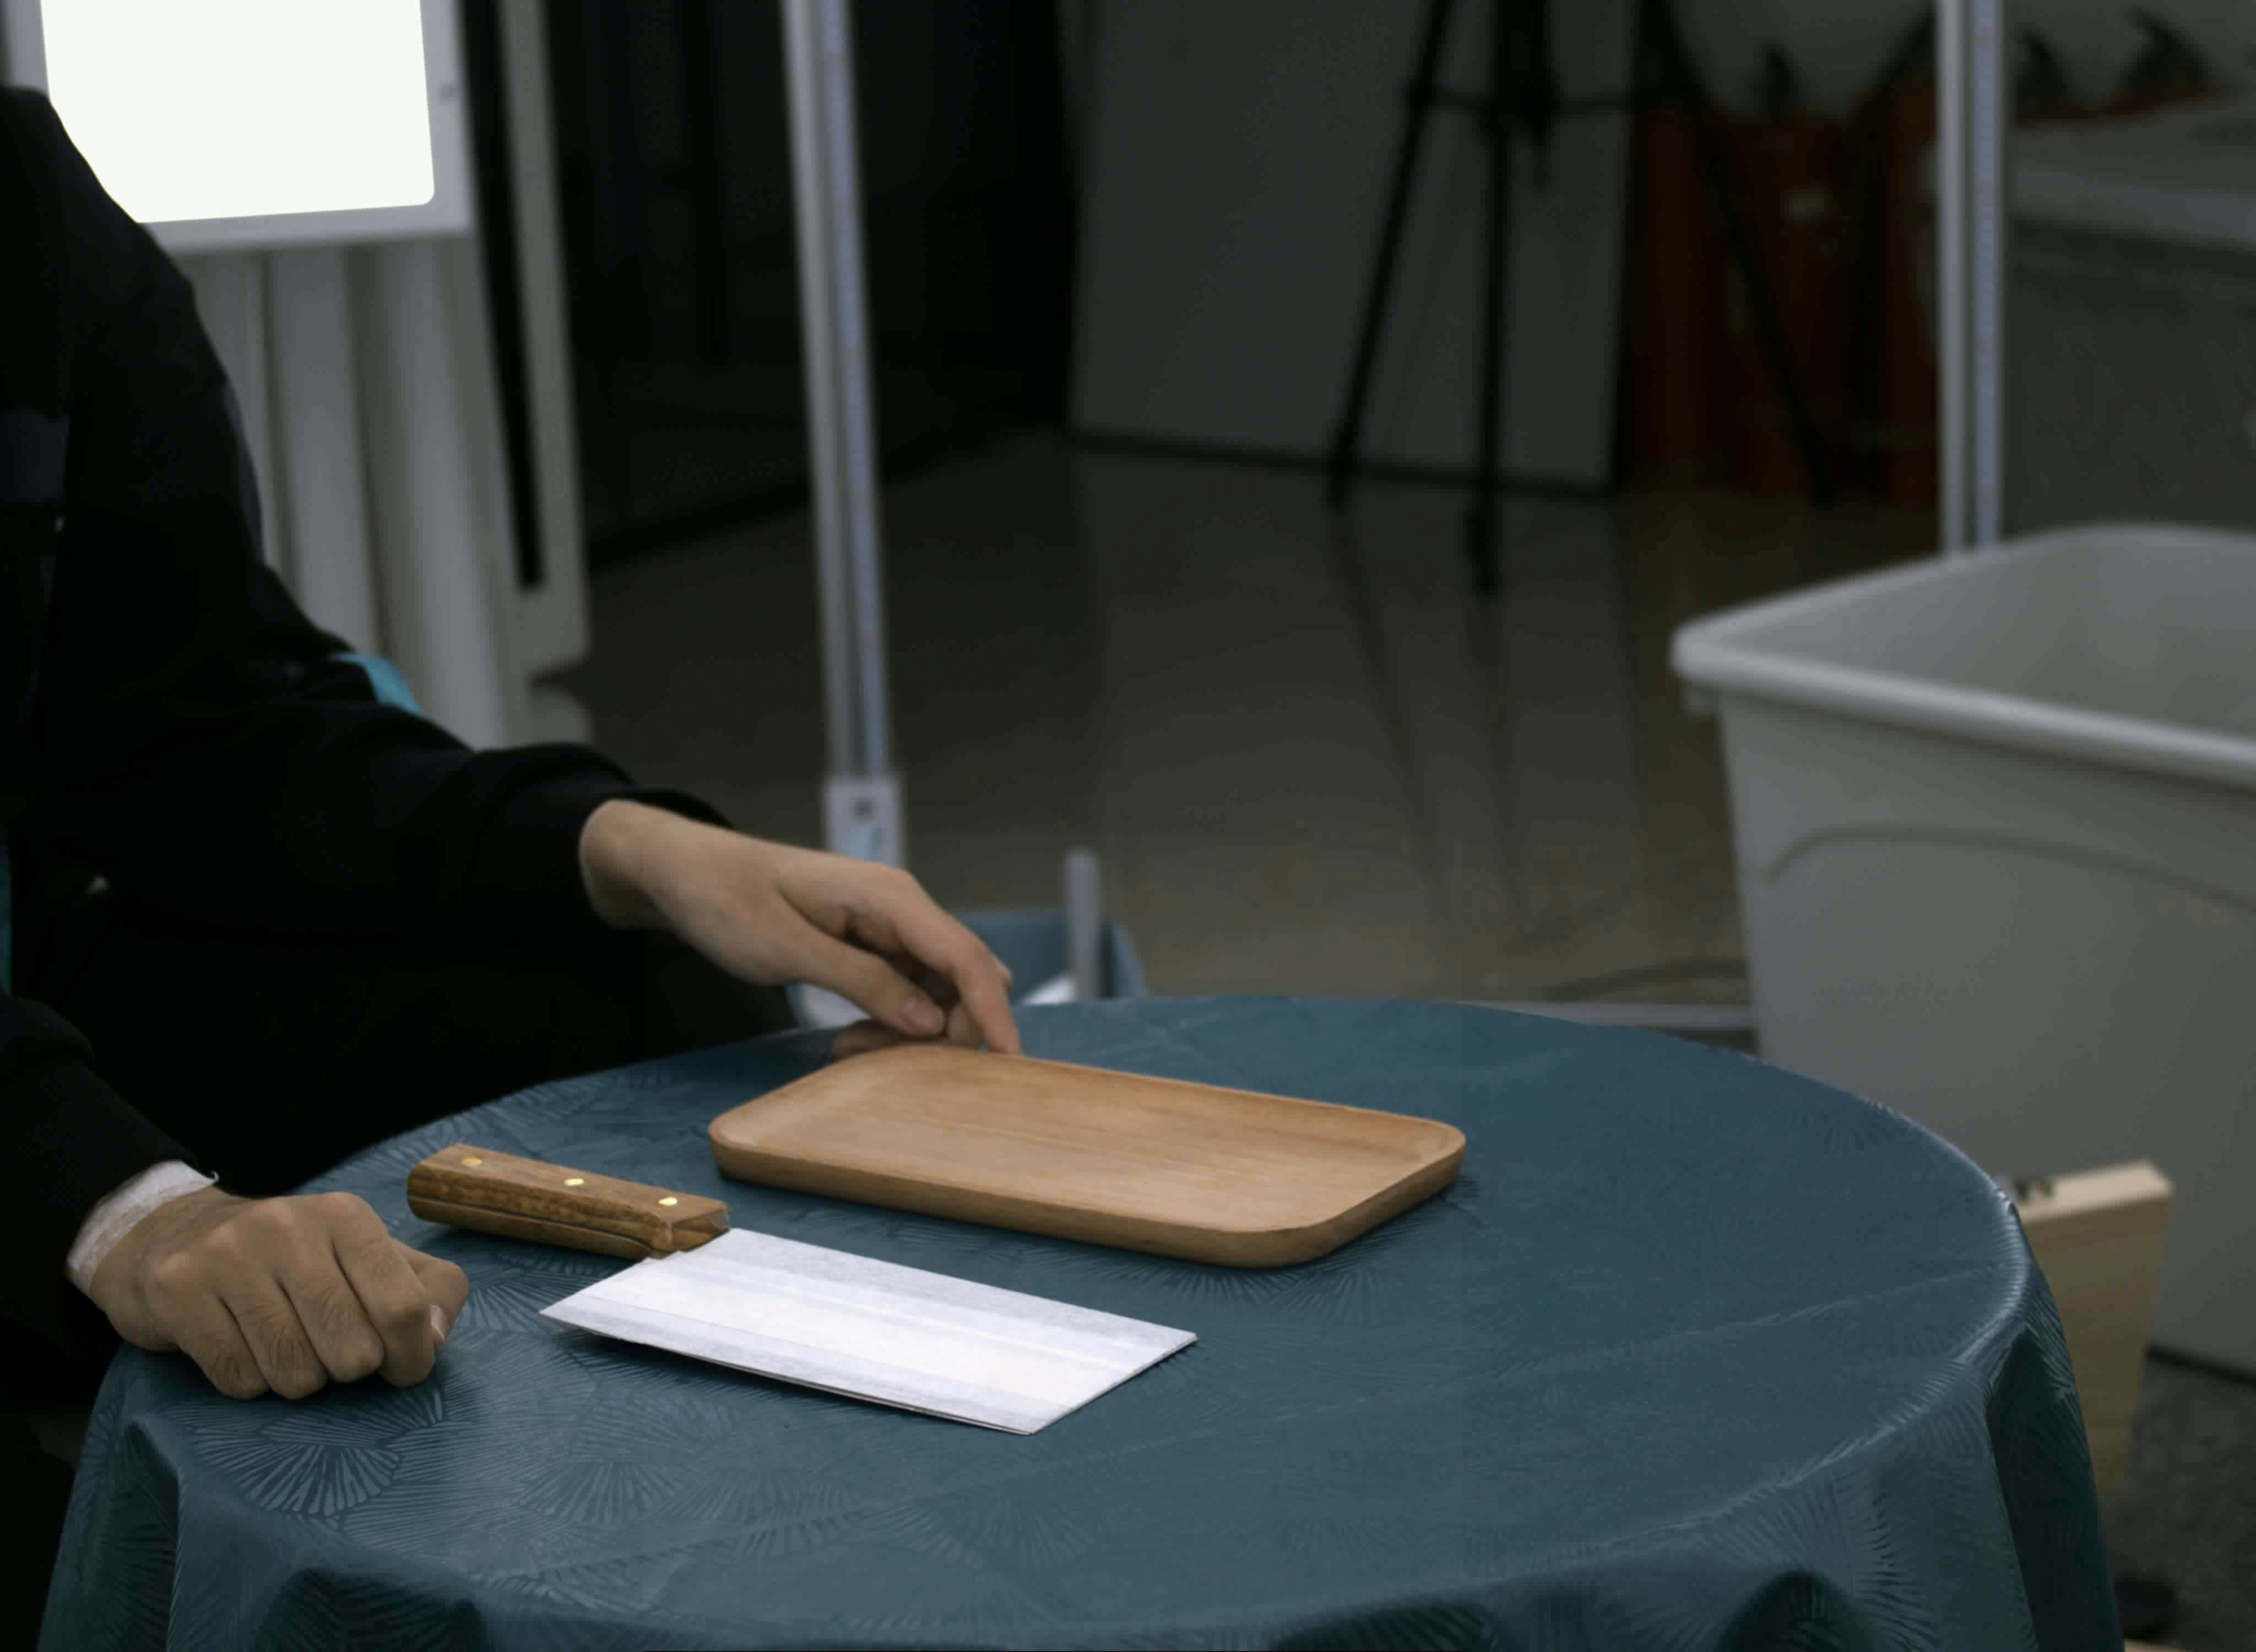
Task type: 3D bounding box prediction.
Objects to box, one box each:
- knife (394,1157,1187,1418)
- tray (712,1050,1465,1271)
[{"bbox_3d":[-0.125,0.146,1.678,0.308,0.021,0.091,9,20,36],"label":"knife"},{"bbox_3d":[-0.015,0.110,1.790,0.252,0.023,0.128,5,15,38],"label":"tray"}]
